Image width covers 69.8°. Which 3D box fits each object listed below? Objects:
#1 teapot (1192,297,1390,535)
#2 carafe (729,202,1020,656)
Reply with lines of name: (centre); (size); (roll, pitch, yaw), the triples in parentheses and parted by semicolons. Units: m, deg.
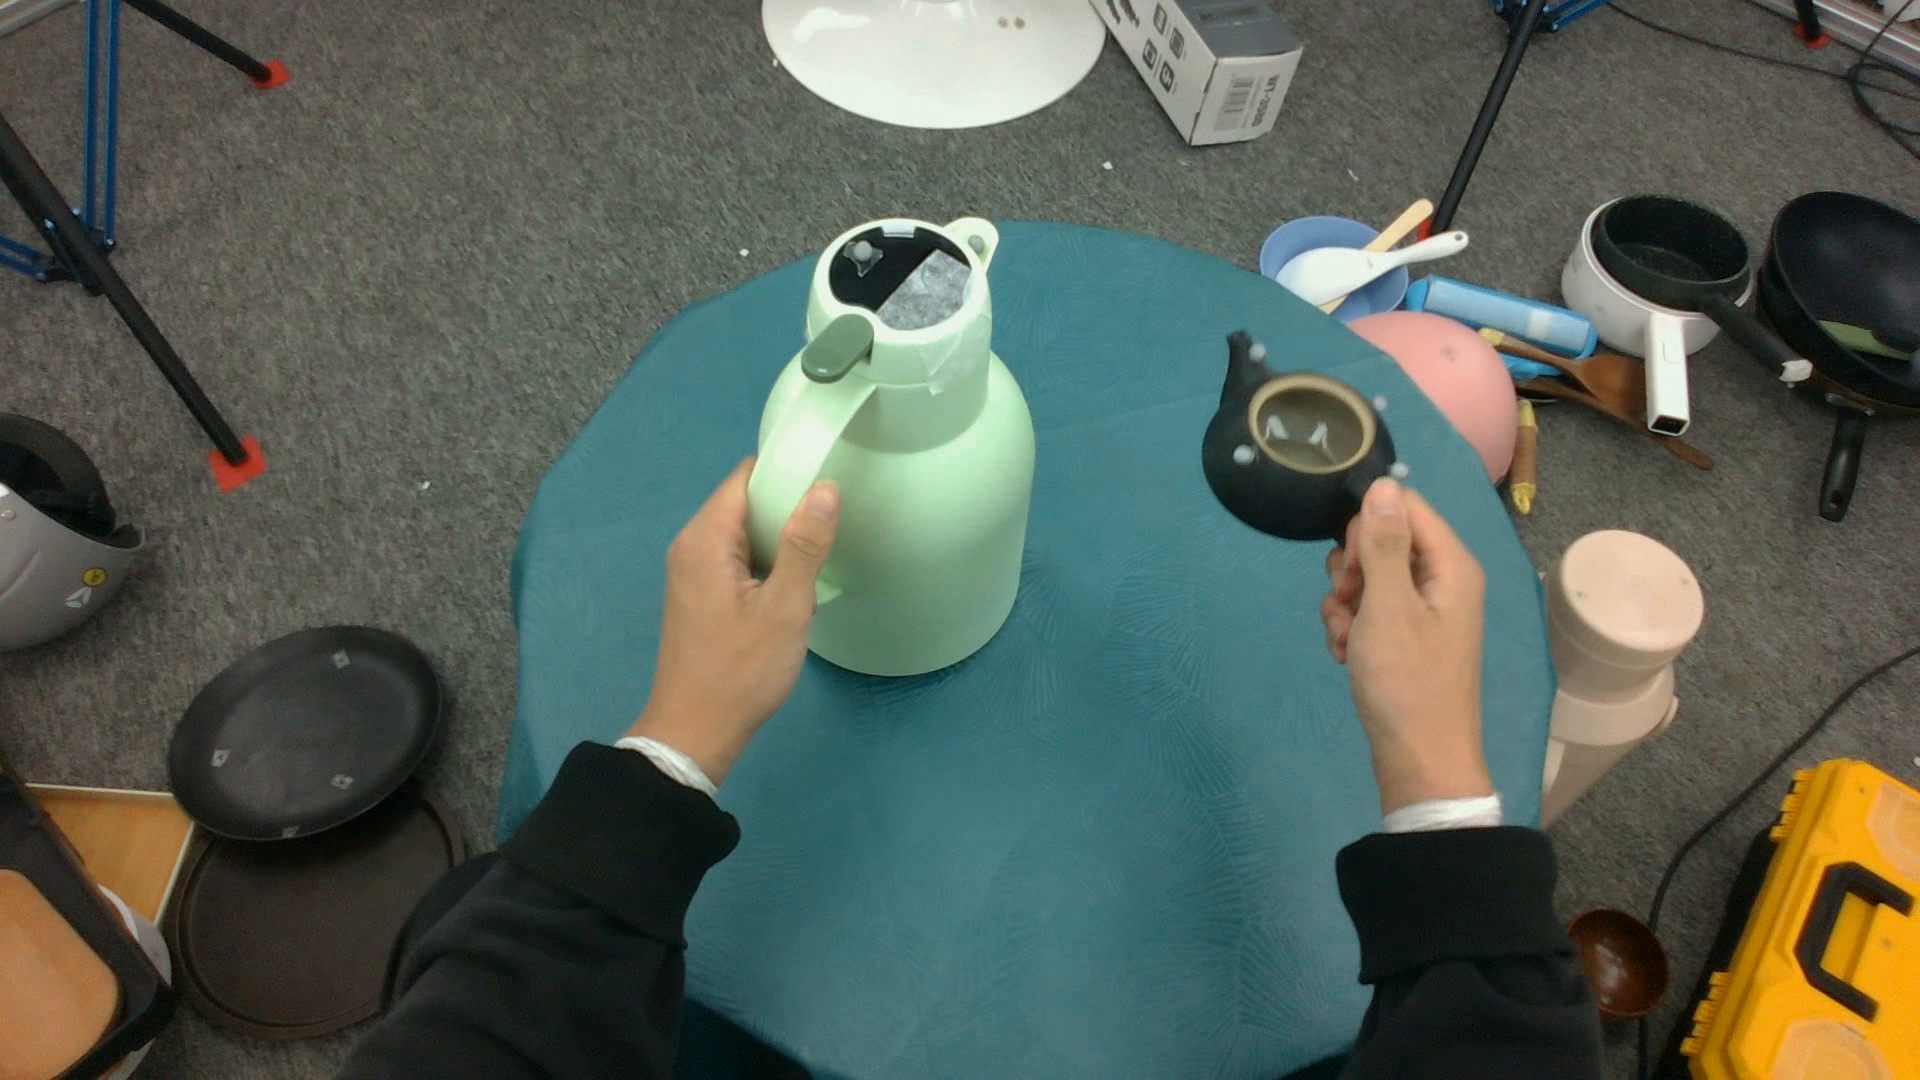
teapot: (0.155, -0.053, 0.646); (0.091, 0.053, 0.133); (-25, 62, -14)
carafe: (-0.047, -0.044, 0.696); (0.144, 0.255, 0.187); (29, 63, 12)
